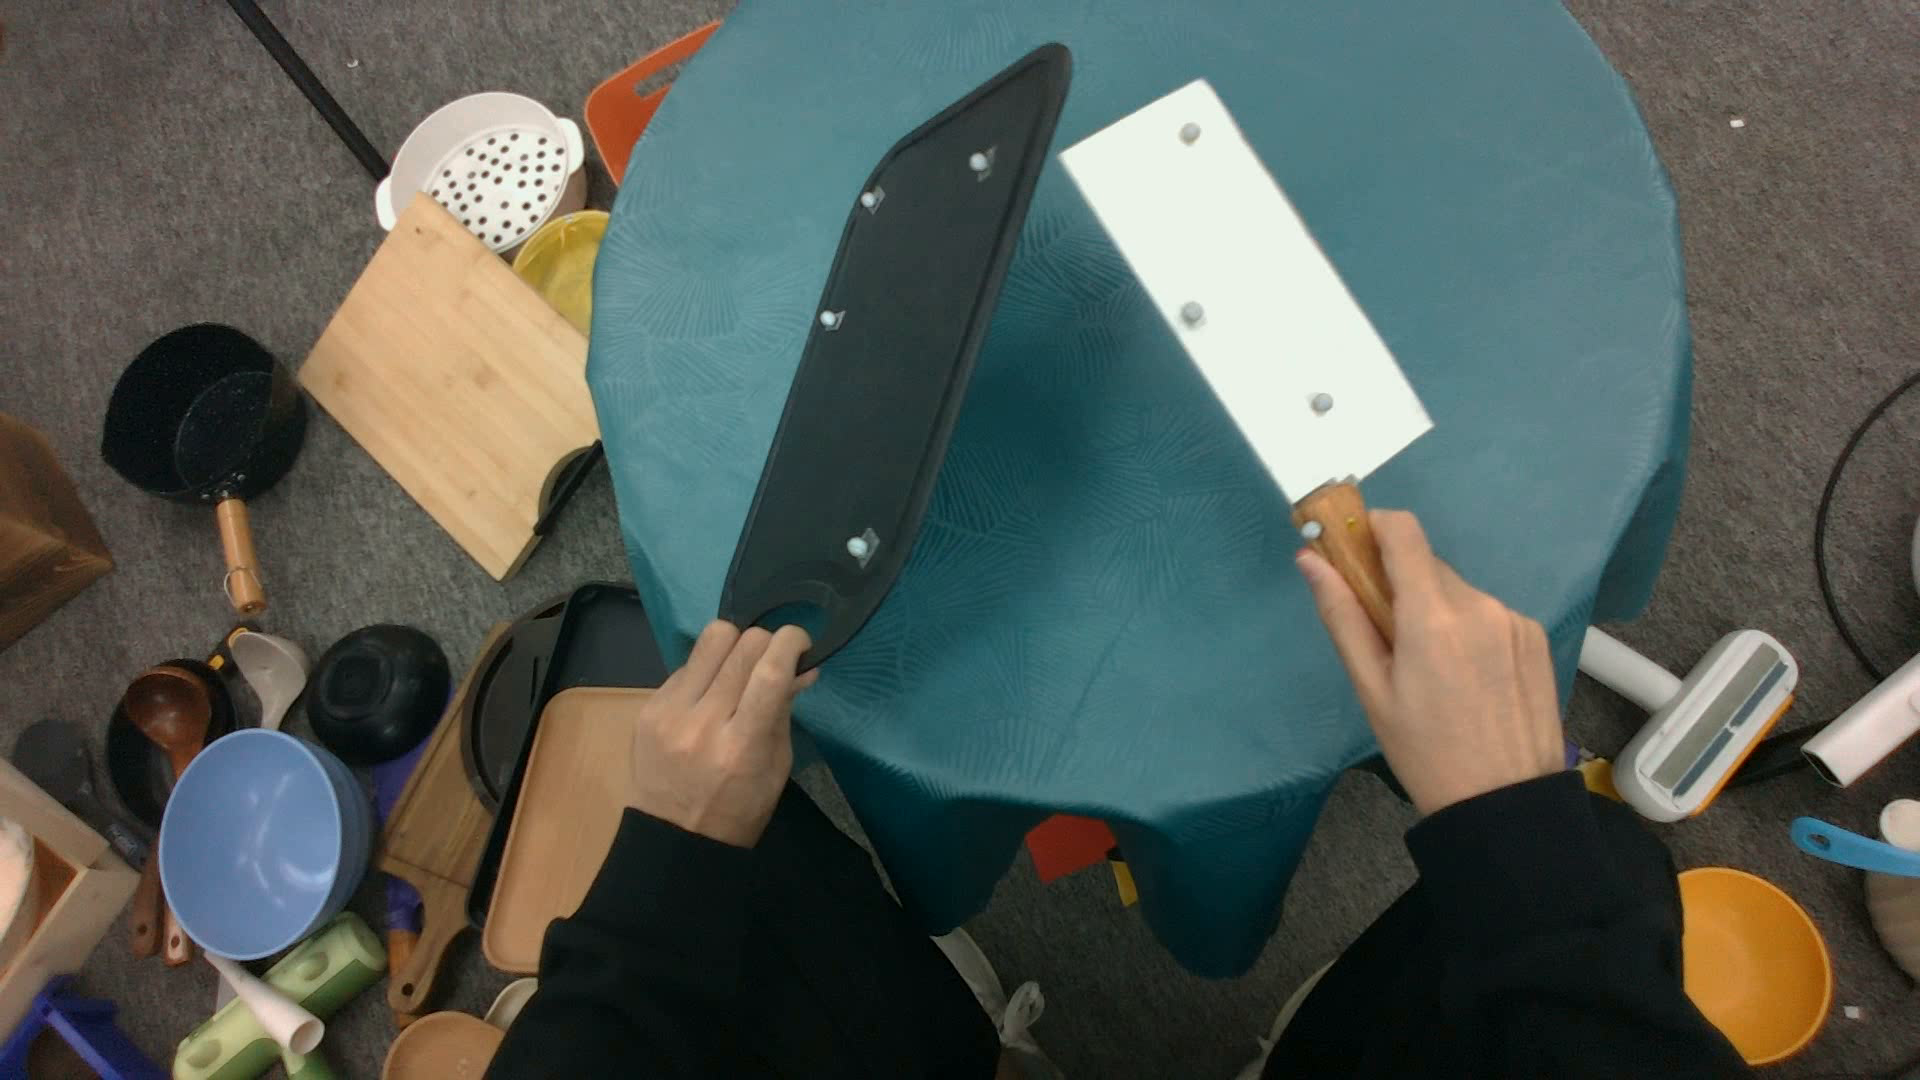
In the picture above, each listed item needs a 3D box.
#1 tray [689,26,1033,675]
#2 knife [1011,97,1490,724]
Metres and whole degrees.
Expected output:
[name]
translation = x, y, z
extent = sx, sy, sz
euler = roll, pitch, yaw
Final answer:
[tray]
translation = -0.056, -0.090, 0.668
extent = 0.010, 0.210, 0.326
euler = 25, 72, -27
[knife]
translation = 0.141, -0.063, 0.598
extent = 0.093, 0.021, 0.306
euler = -38, 91, -28
